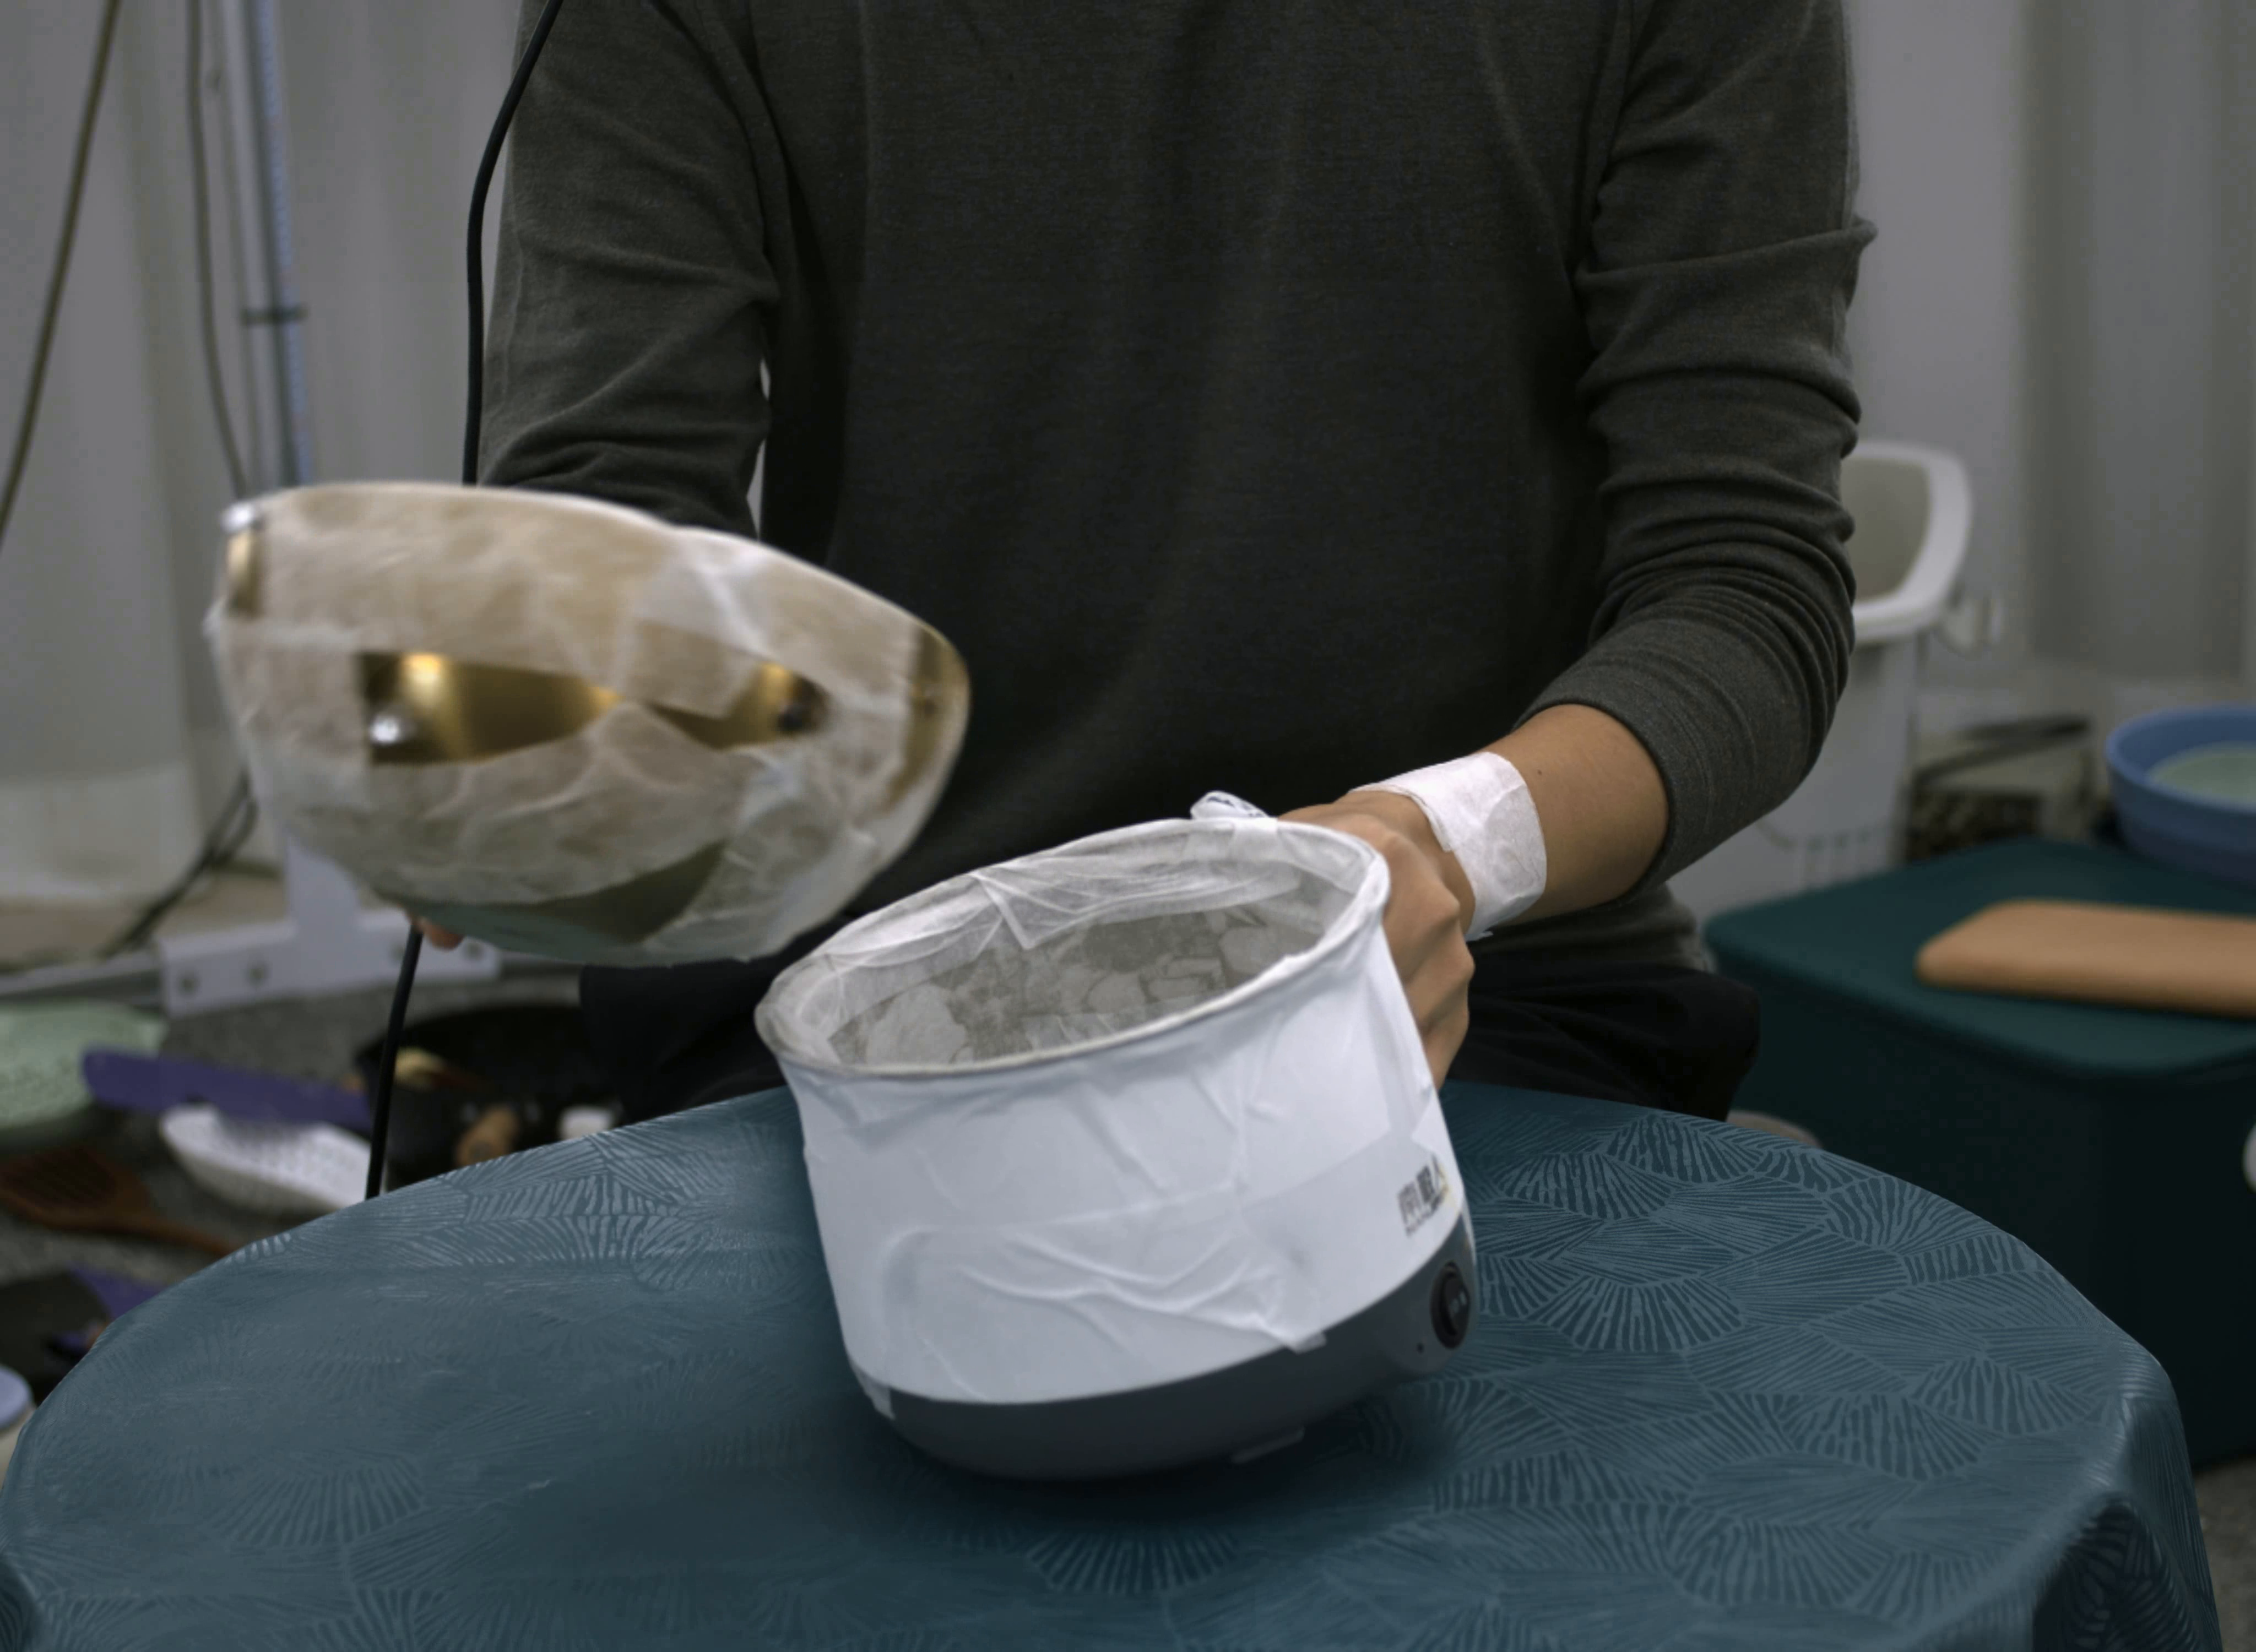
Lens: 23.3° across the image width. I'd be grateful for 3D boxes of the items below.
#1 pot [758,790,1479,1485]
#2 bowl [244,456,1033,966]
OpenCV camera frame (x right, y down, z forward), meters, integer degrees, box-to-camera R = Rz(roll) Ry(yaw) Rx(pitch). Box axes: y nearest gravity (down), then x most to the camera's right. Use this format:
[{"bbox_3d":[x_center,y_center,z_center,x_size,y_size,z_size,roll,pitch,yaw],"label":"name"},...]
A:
[{"bbox_3d":[0.010,0.080,1.523,0.179,0.136,0.235,-5,18,27],"label":"pot"},{"bbox_3d":[-0.140,-0.016,1.436,0.214,0.095,0.213,12,-15,3],"label":"bowl"}]
